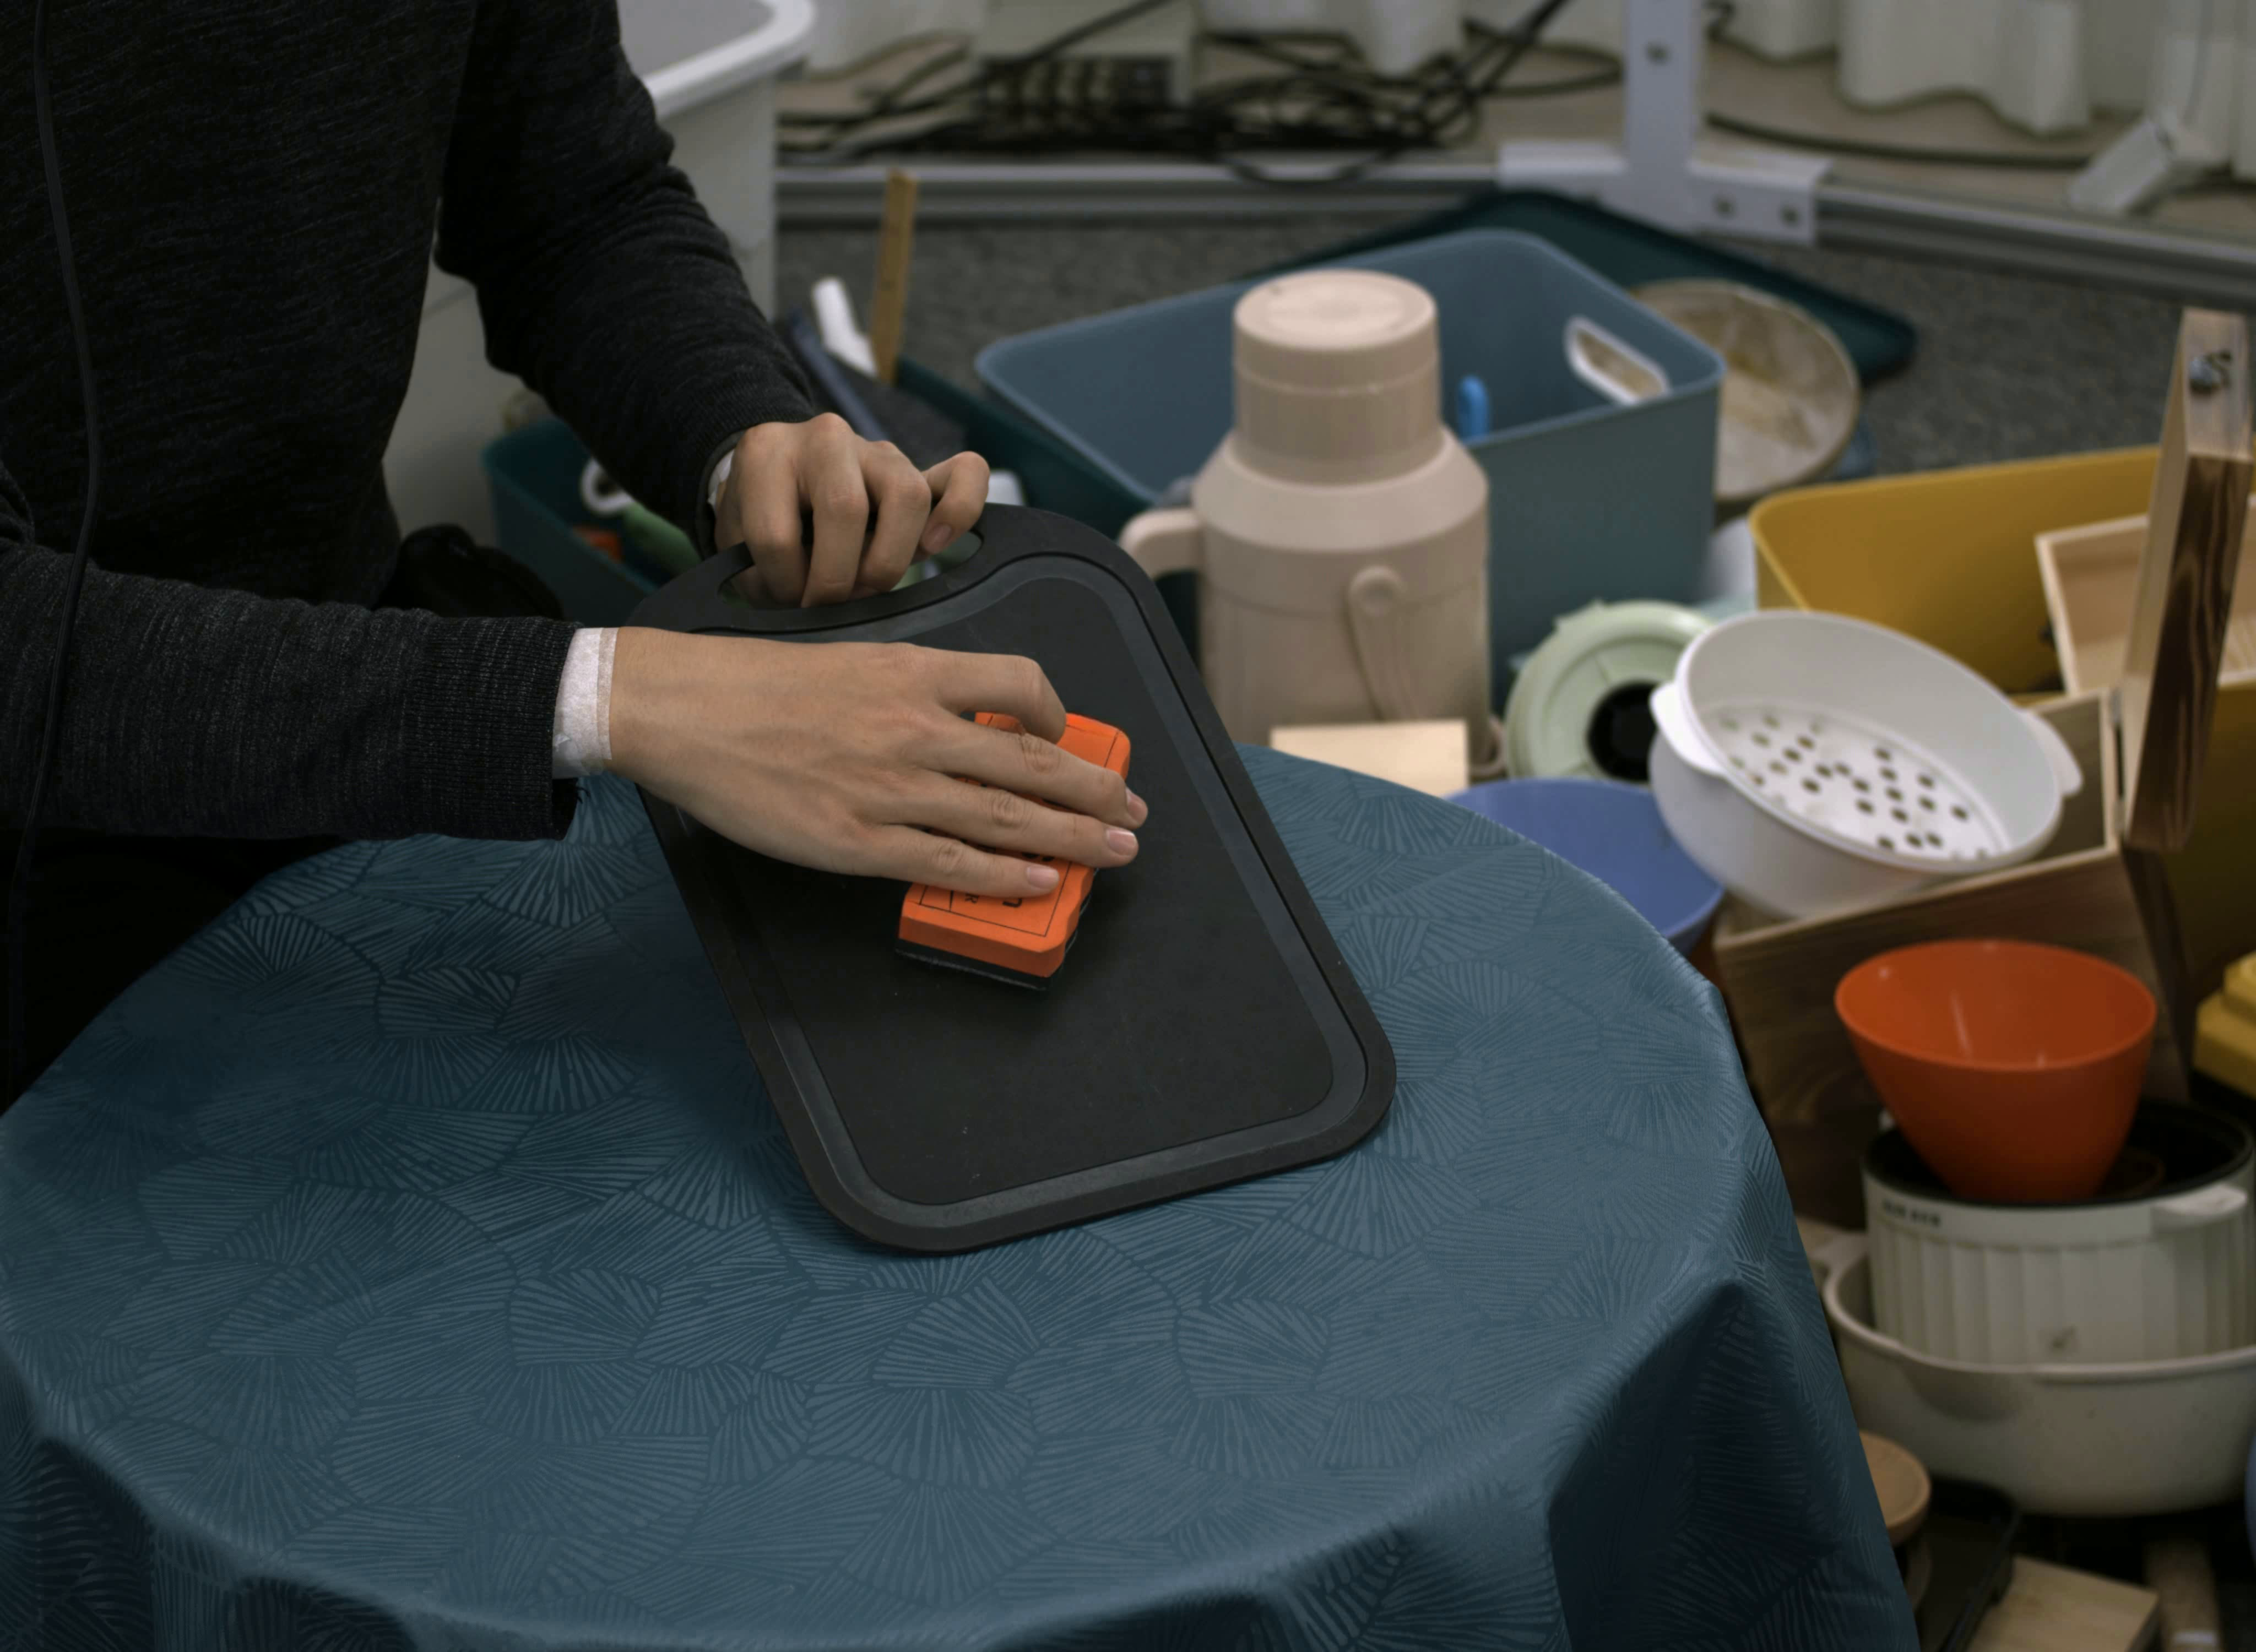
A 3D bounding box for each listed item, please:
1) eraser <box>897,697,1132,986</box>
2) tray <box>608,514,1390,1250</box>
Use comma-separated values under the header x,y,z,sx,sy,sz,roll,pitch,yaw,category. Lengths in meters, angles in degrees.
x,y,z,sx,sy,sz,roll,pitch,yaw,category
-0.039,0.005,1.944,0.059,0.022,0.110,14,48,8,eraser
-0.052,0.008,1.950,0.211,0.009,0.330,-11,50,-18,tray
